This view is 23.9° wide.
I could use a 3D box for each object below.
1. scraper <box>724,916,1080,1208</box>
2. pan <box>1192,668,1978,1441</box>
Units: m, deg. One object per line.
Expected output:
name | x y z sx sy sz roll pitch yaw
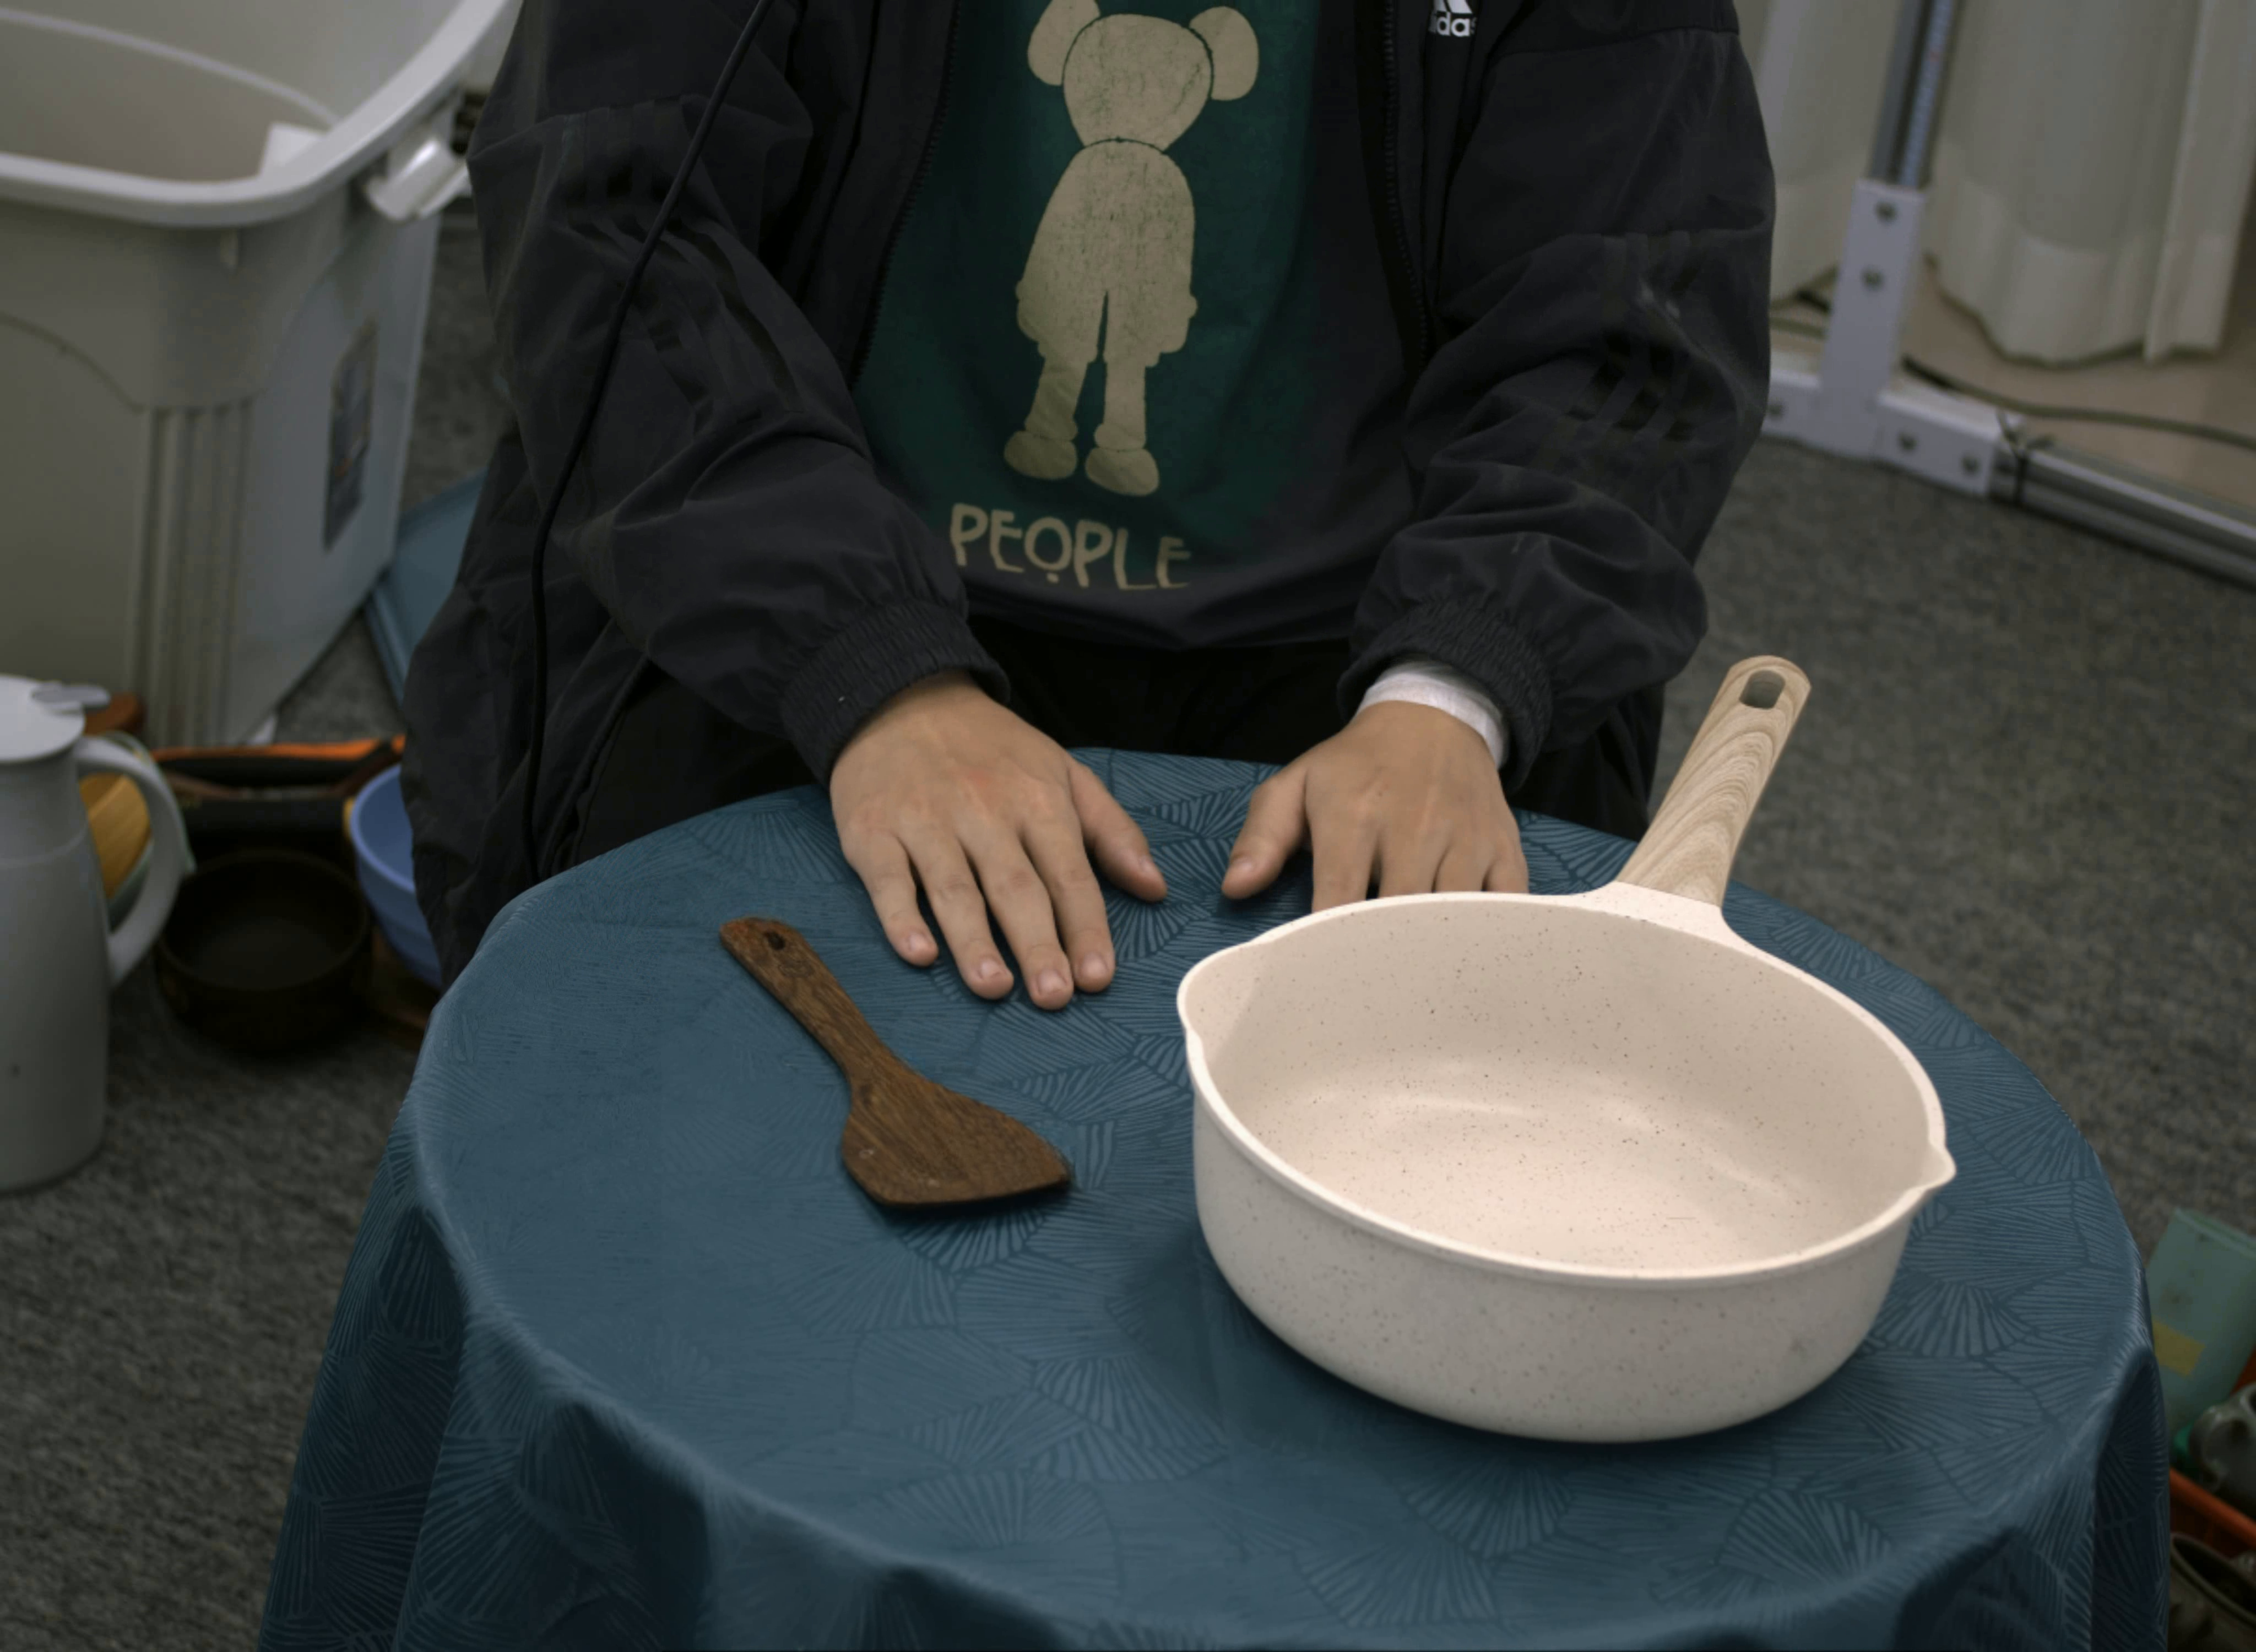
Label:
scraper | -0.091 0.081 1.860 0.075 0.011 0.213 -6 29 -26
pan | 0.174 0.073 1.835 0.264 0.101 0.435 12 27 14
